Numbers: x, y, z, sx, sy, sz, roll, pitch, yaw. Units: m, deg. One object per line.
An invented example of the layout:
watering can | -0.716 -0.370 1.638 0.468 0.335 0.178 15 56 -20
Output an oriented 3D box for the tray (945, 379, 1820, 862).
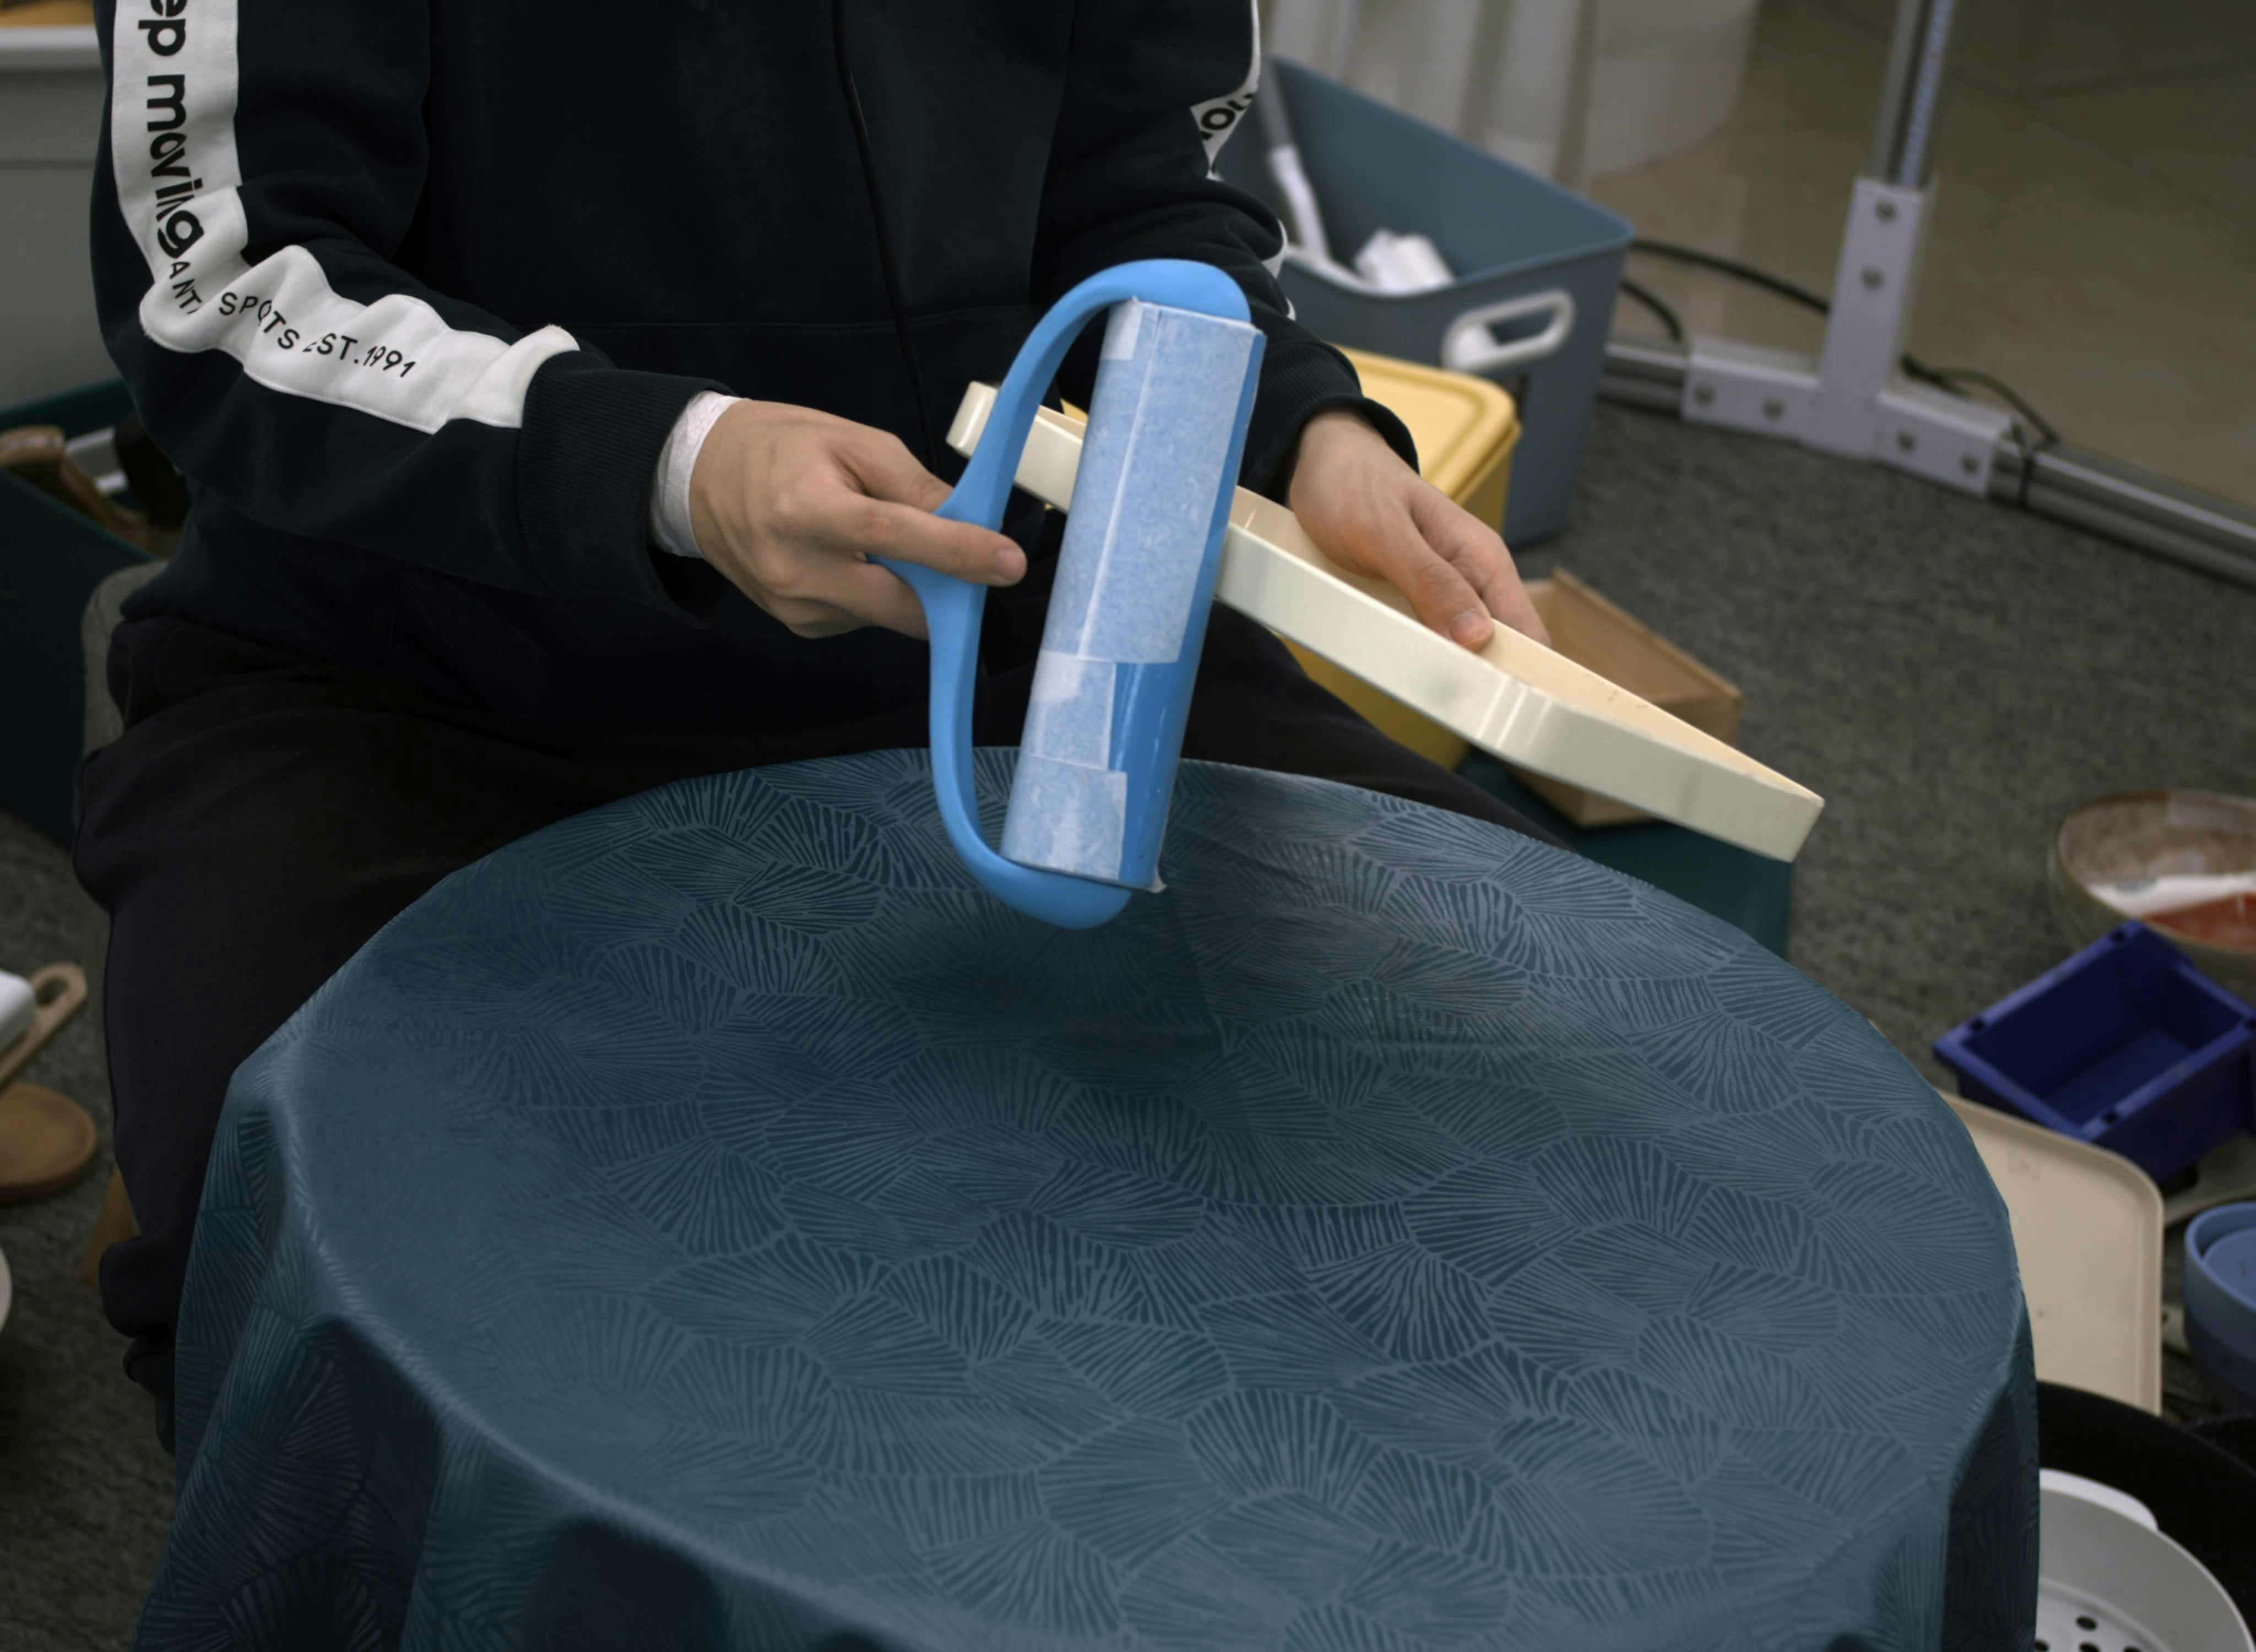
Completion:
tray | 0.087 -0.073 1.875 0.303 0.027 0.190 31 8 41

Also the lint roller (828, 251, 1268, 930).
lint roller | -0.045 -0.085 1.820 0.181 0.229 0.067 7 0 33
